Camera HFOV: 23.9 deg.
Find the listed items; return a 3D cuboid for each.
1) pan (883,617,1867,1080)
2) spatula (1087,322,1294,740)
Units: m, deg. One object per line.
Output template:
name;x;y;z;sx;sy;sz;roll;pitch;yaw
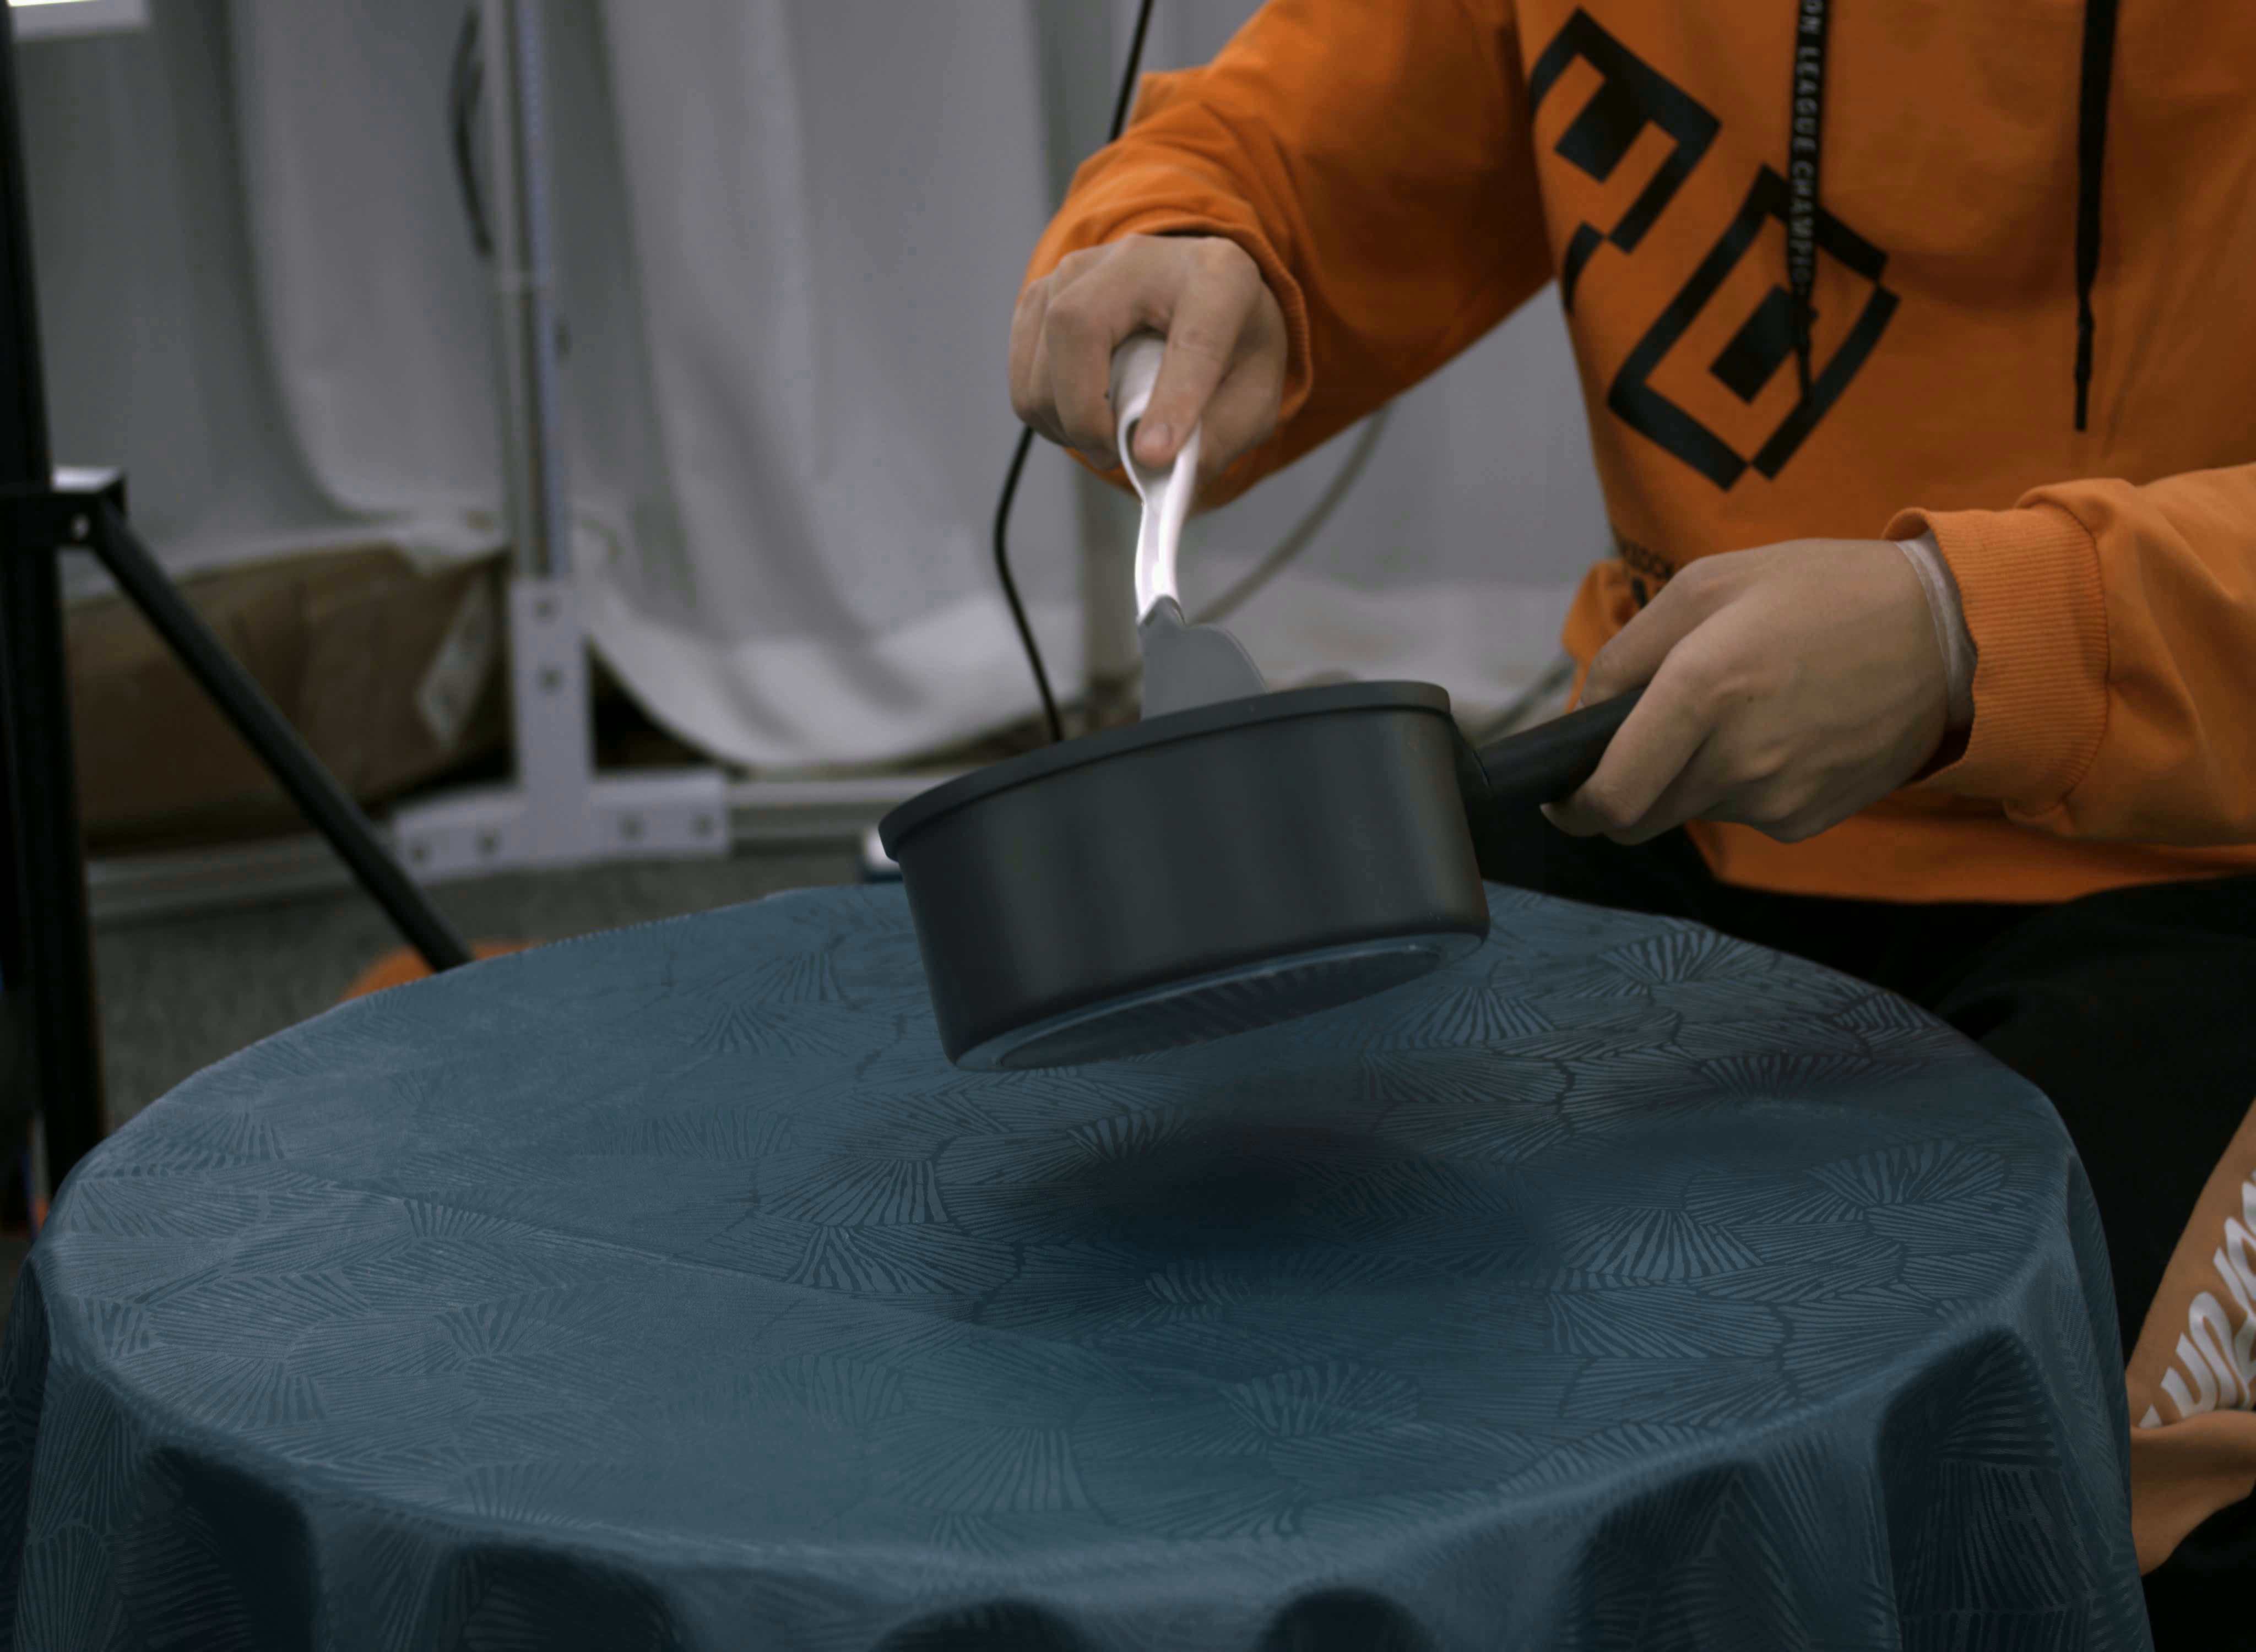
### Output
pan;0.088;0.004;1.576;0.322;0.087;0.174;-10;-8;-27
spatula;0.016;-0.079;1.629;0.031;0.059;0.291;28;23;-21
